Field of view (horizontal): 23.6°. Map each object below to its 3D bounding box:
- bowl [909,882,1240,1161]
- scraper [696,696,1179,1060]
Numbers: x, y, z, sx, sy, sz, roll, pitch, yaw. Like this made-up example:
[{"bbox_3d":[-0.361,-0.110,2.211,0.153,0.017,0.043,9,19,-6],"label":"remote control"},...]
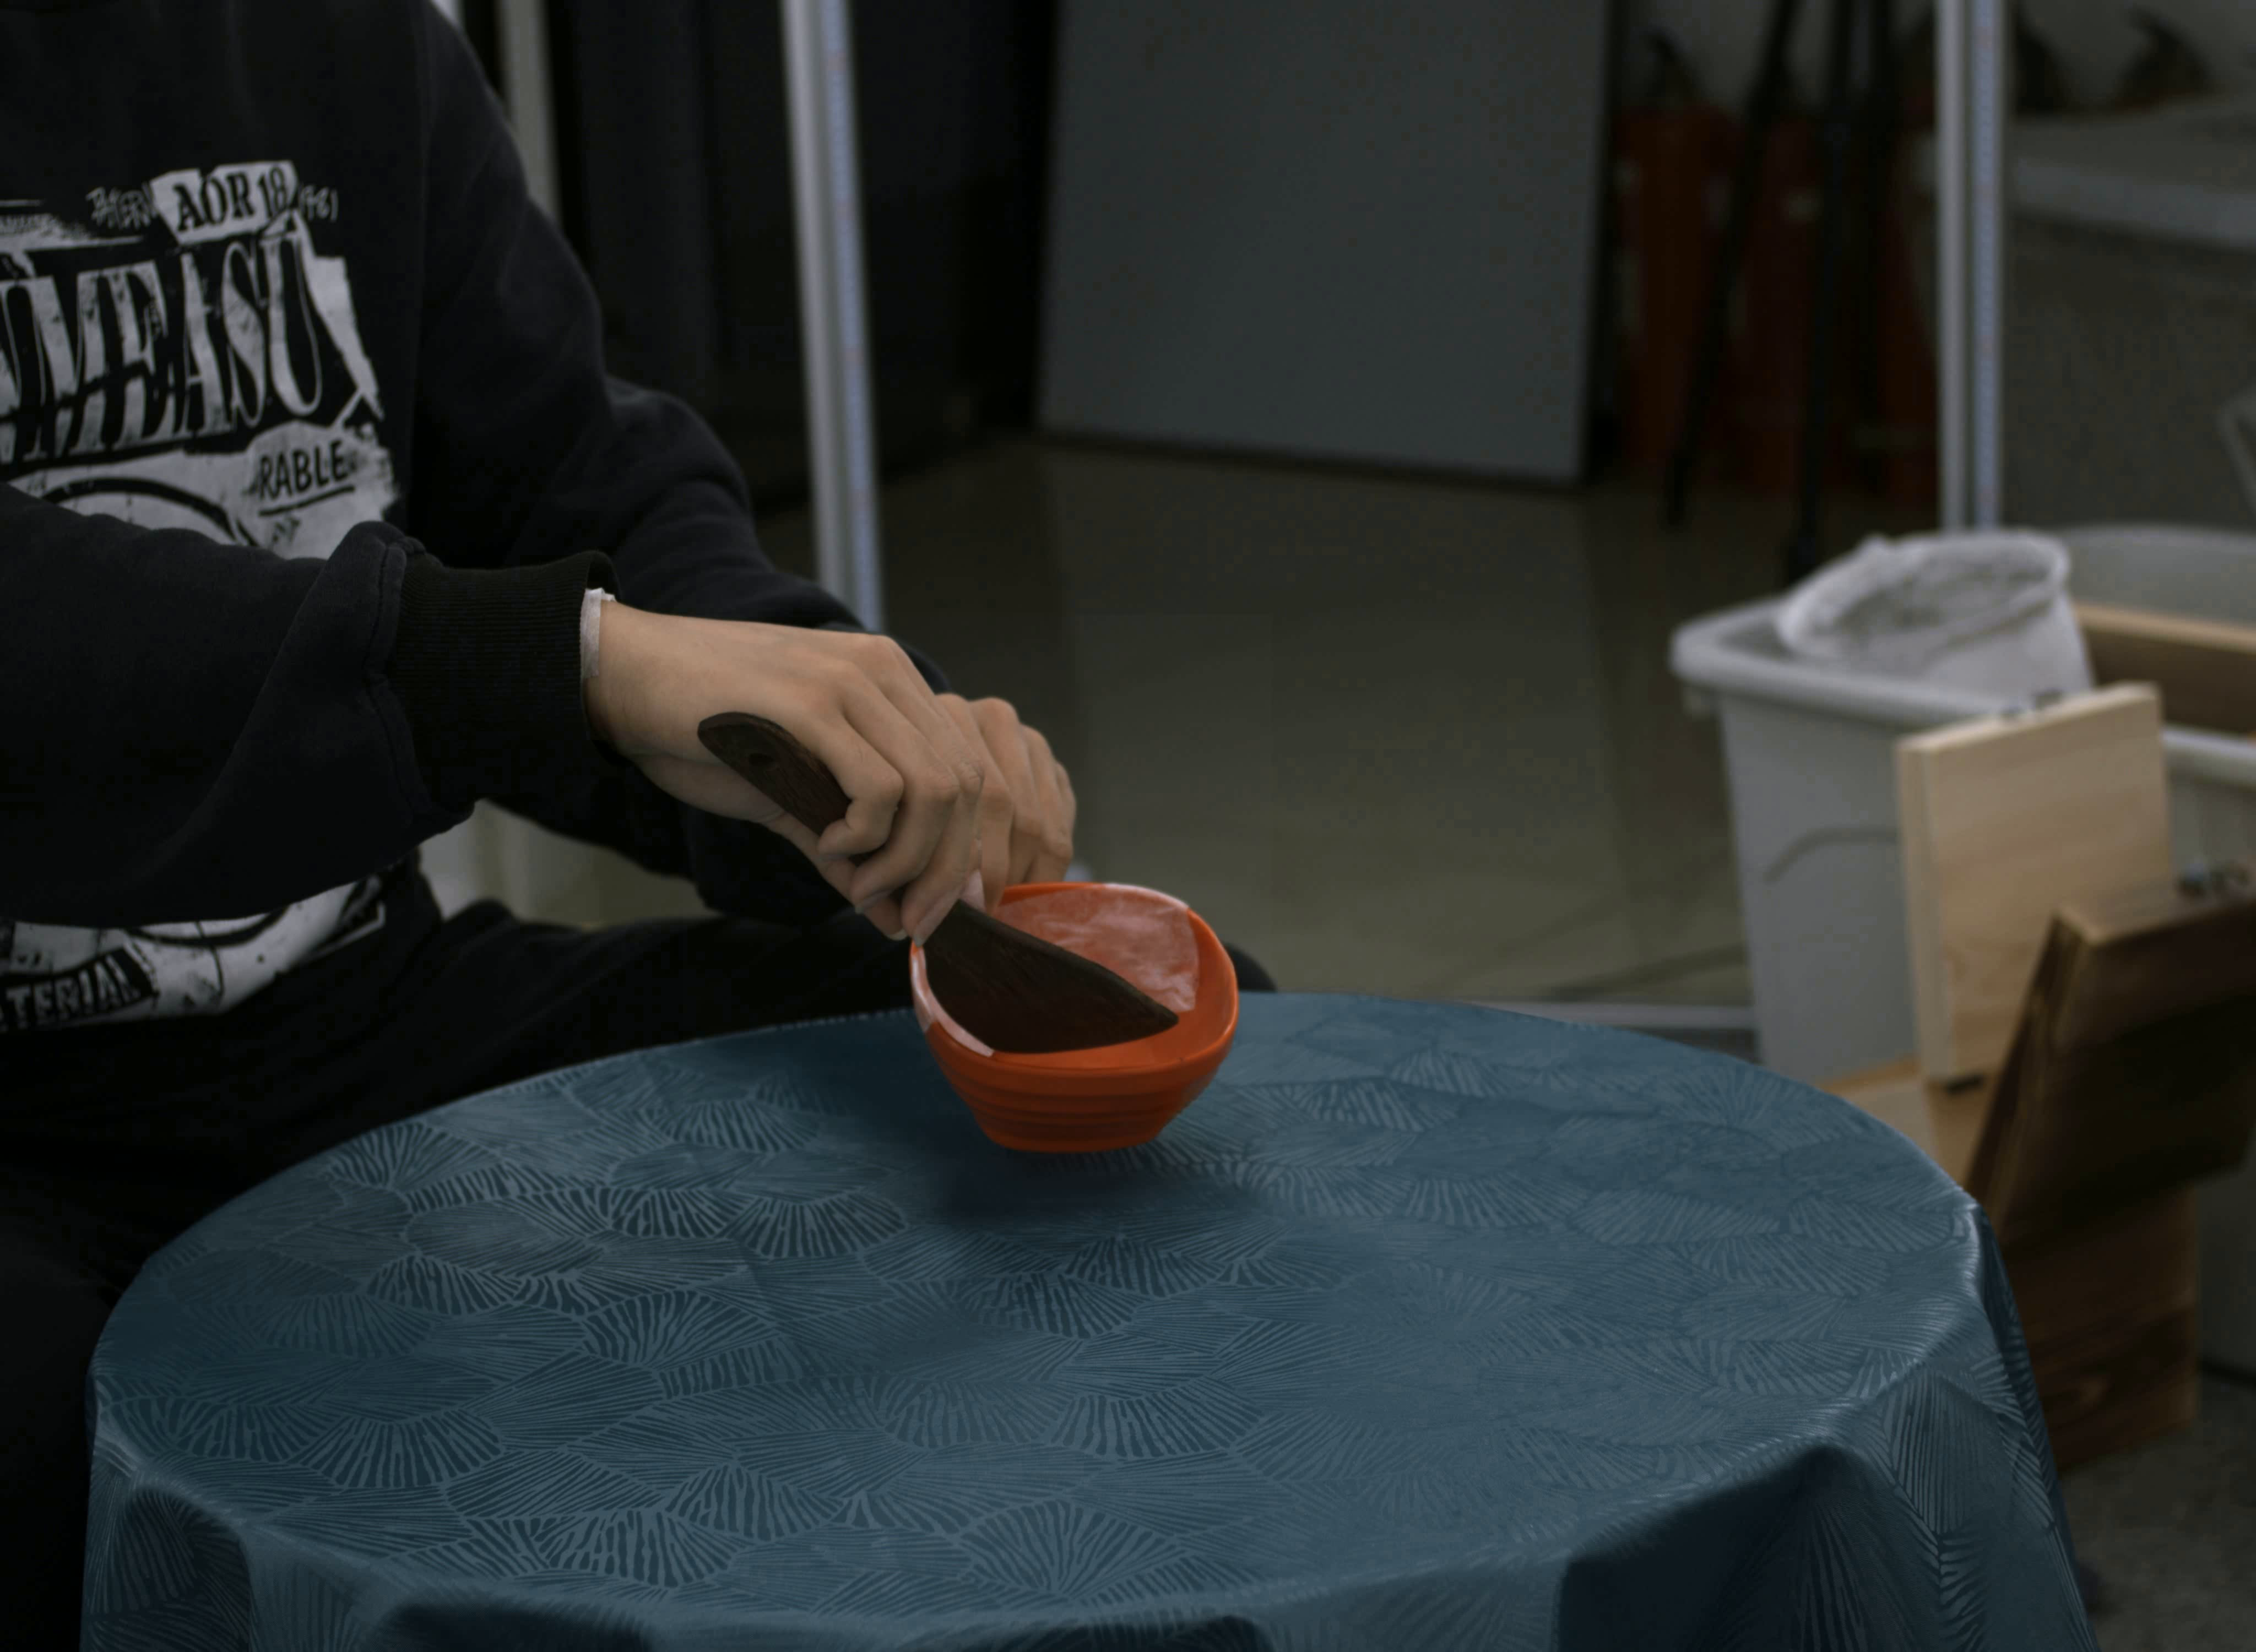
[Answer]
[{"bbox_3d":[-0.020,0.071,1.803,0.117,0.052,0.119,3,34,-3],"label":"bowl"},{"bbox_3d":[-0.066,0.019,1.713,0.076,0.208,0.011,-13,49,34],"label":"scraper"}]
